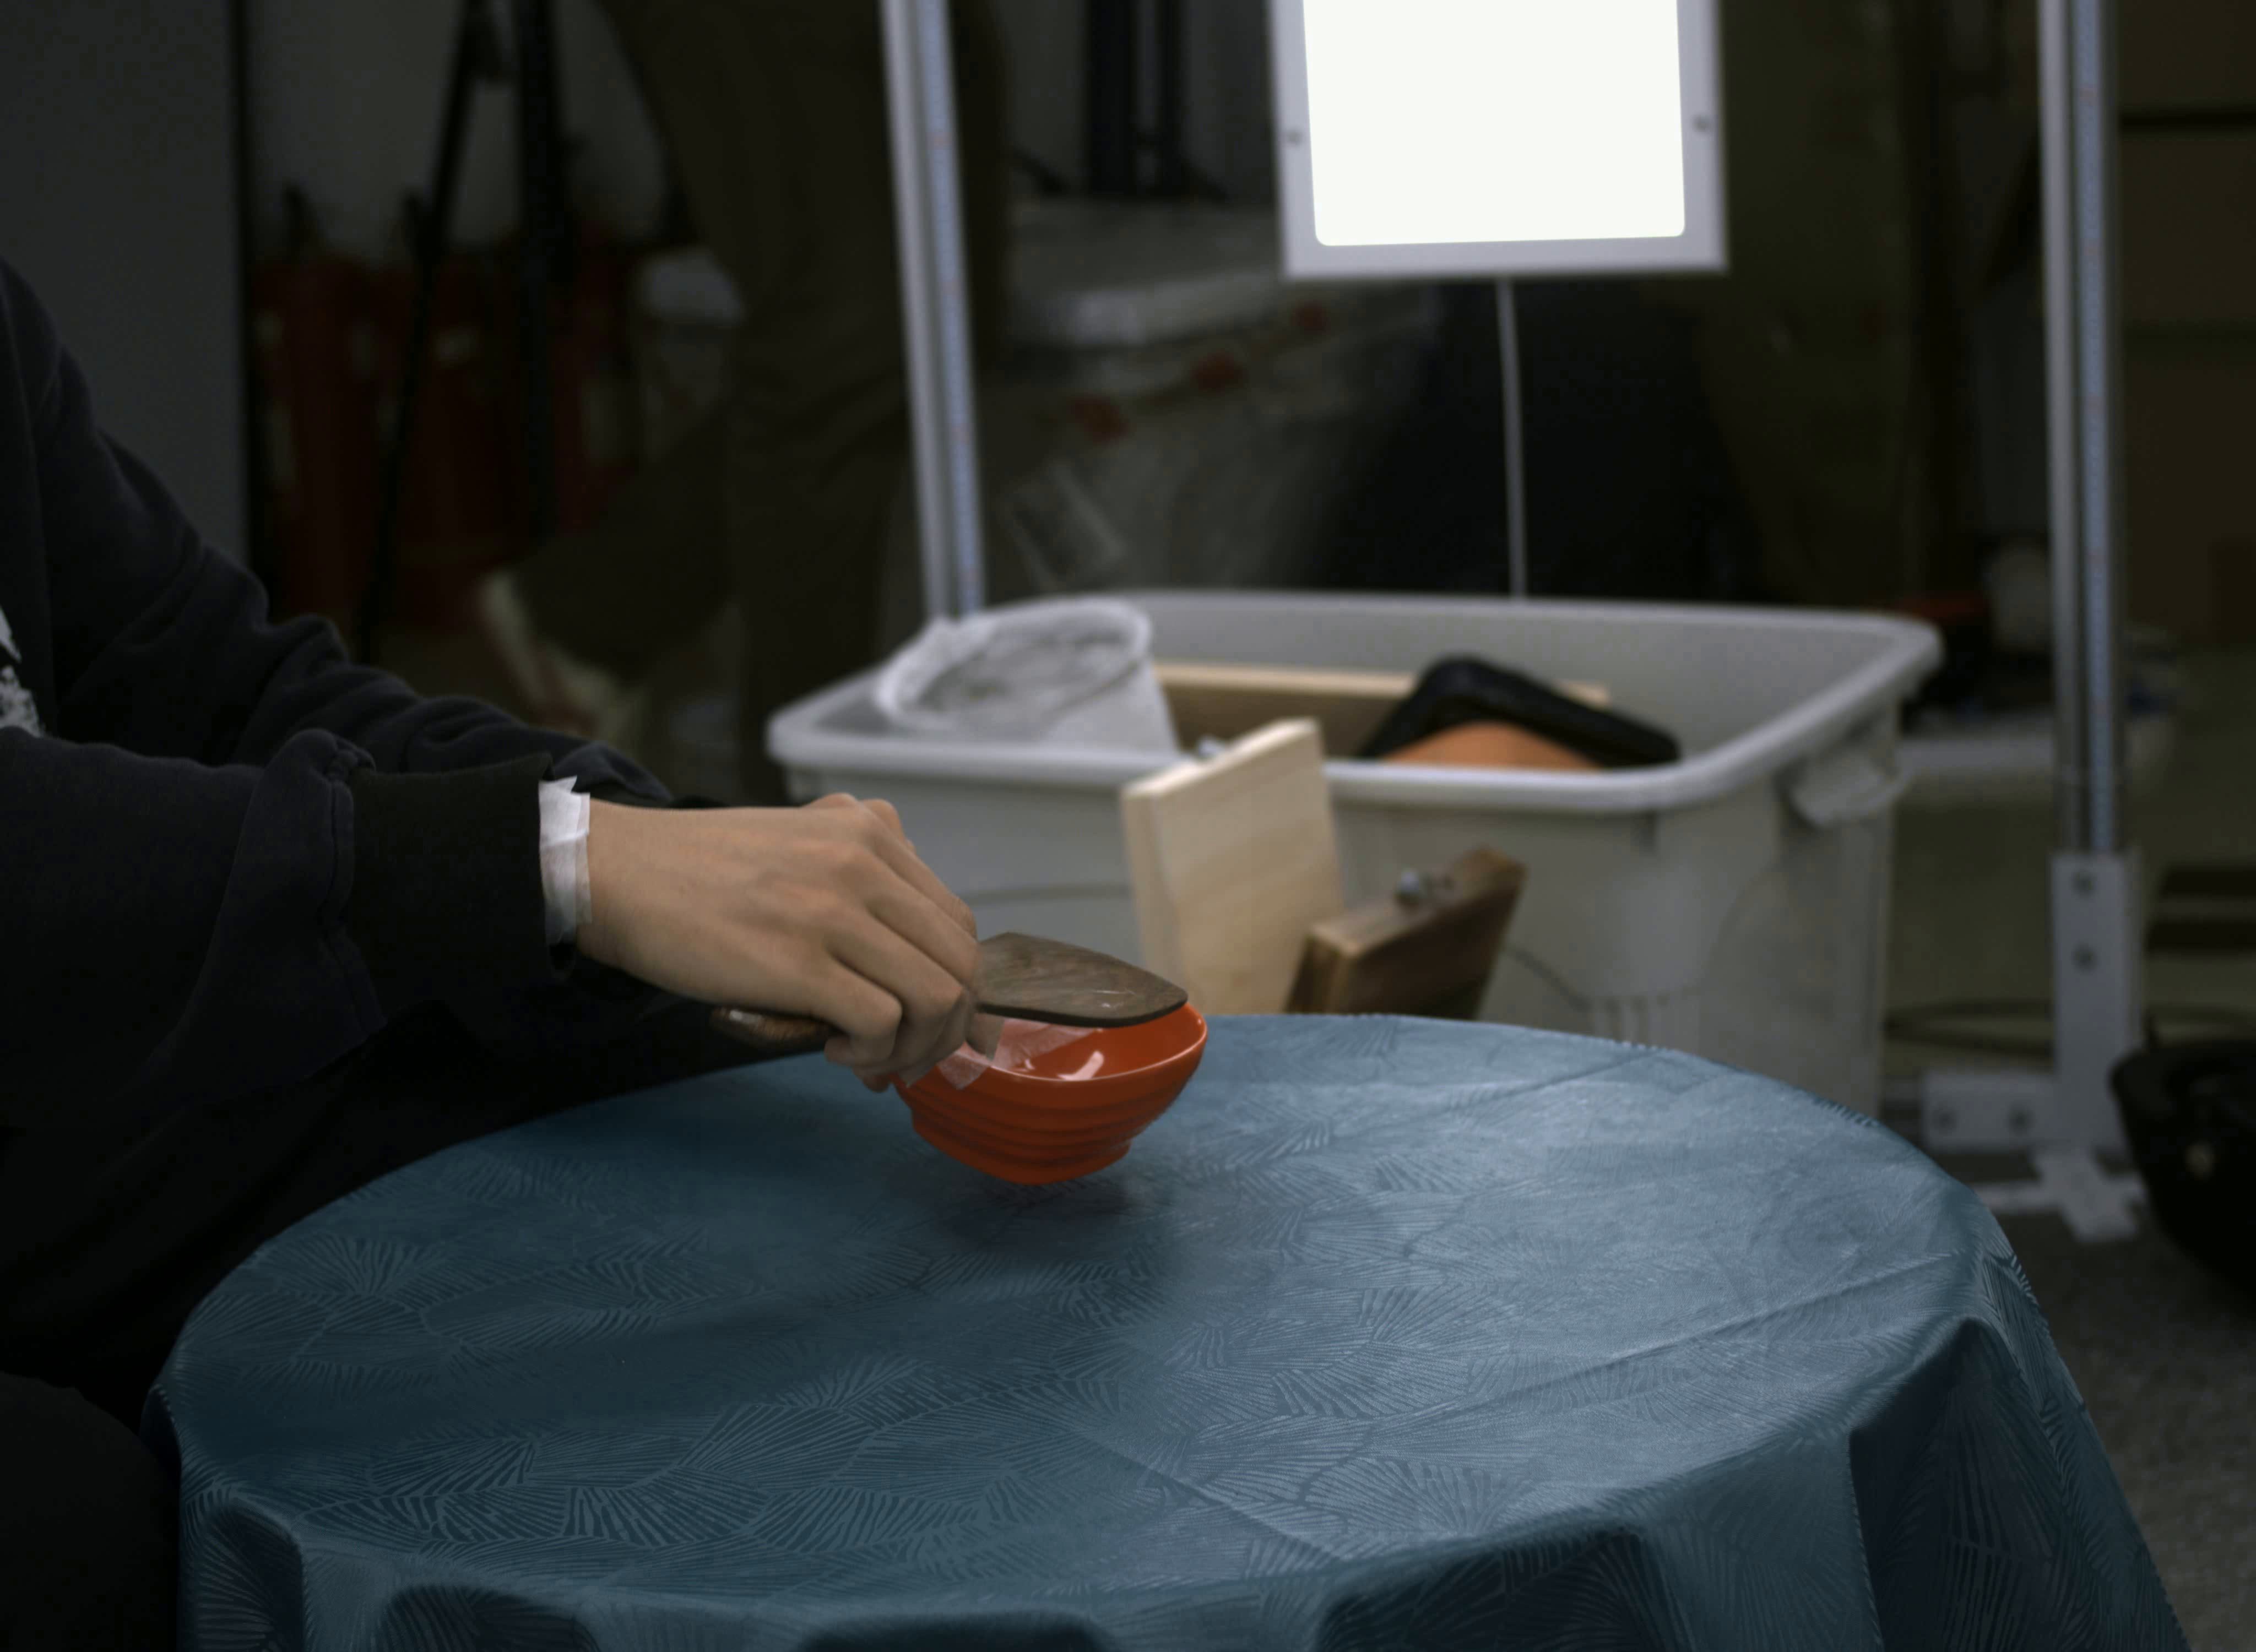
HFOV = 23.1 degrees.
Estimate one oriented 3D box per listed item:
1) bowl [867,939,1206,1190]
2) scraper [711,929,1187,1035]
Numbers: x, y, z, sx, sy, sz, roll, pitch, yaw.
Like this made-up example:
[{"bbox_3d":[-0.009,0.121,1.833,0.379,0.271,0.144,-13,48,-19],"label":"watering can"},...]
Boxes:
[{"bbox_3d":[-0.035,0.087,1.908,0.118,0.052,0.118,7,23,-5],"label":"bowl"},{"bbox_3d":[-0.063,0.055,1.792,0.077,0.011,0.206,20,14,32],"label":"scraper"}]
